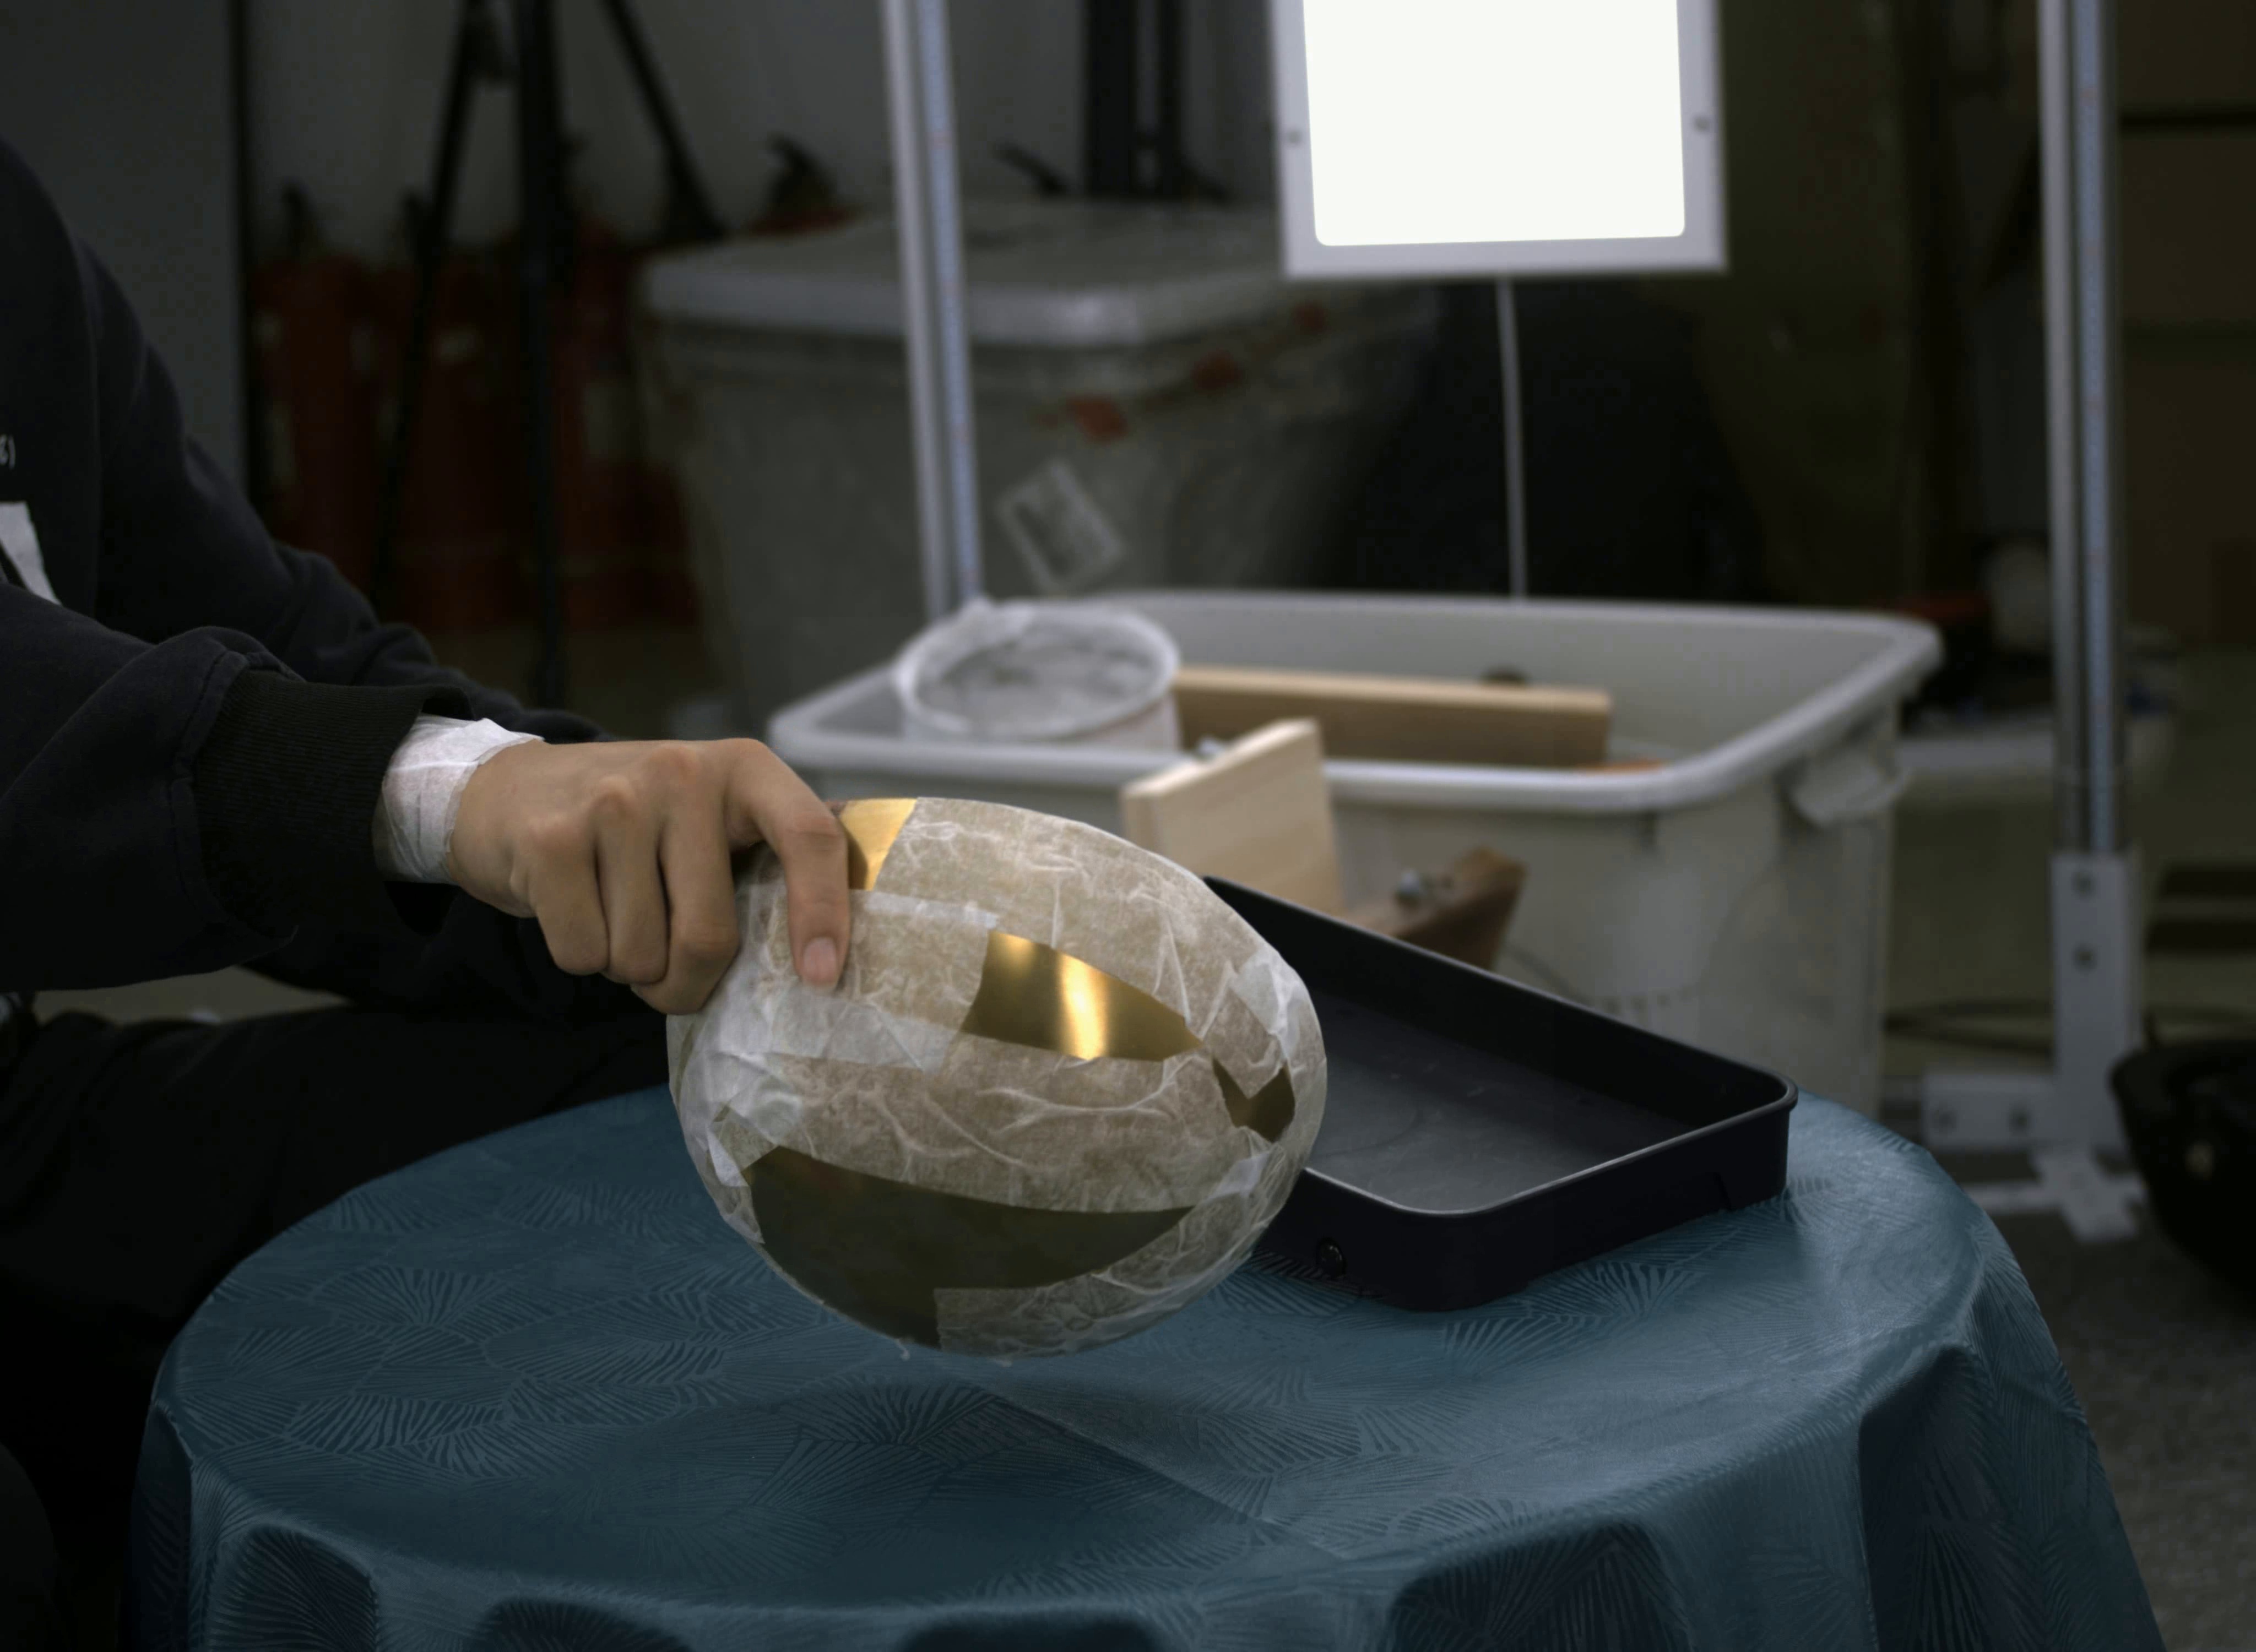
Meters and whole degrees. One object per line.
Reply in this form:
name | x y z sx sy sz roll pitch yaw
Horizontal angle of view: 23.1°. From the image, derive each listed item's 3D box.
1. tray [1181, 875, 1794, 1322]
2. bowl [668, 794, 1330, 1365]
tray | 0.061 0.088 1.900 0.179 0.037 0.324 -14 23 -37
bowl | -0.047 0.095 1.627 0.217 0.214 0.093 1 45 18
